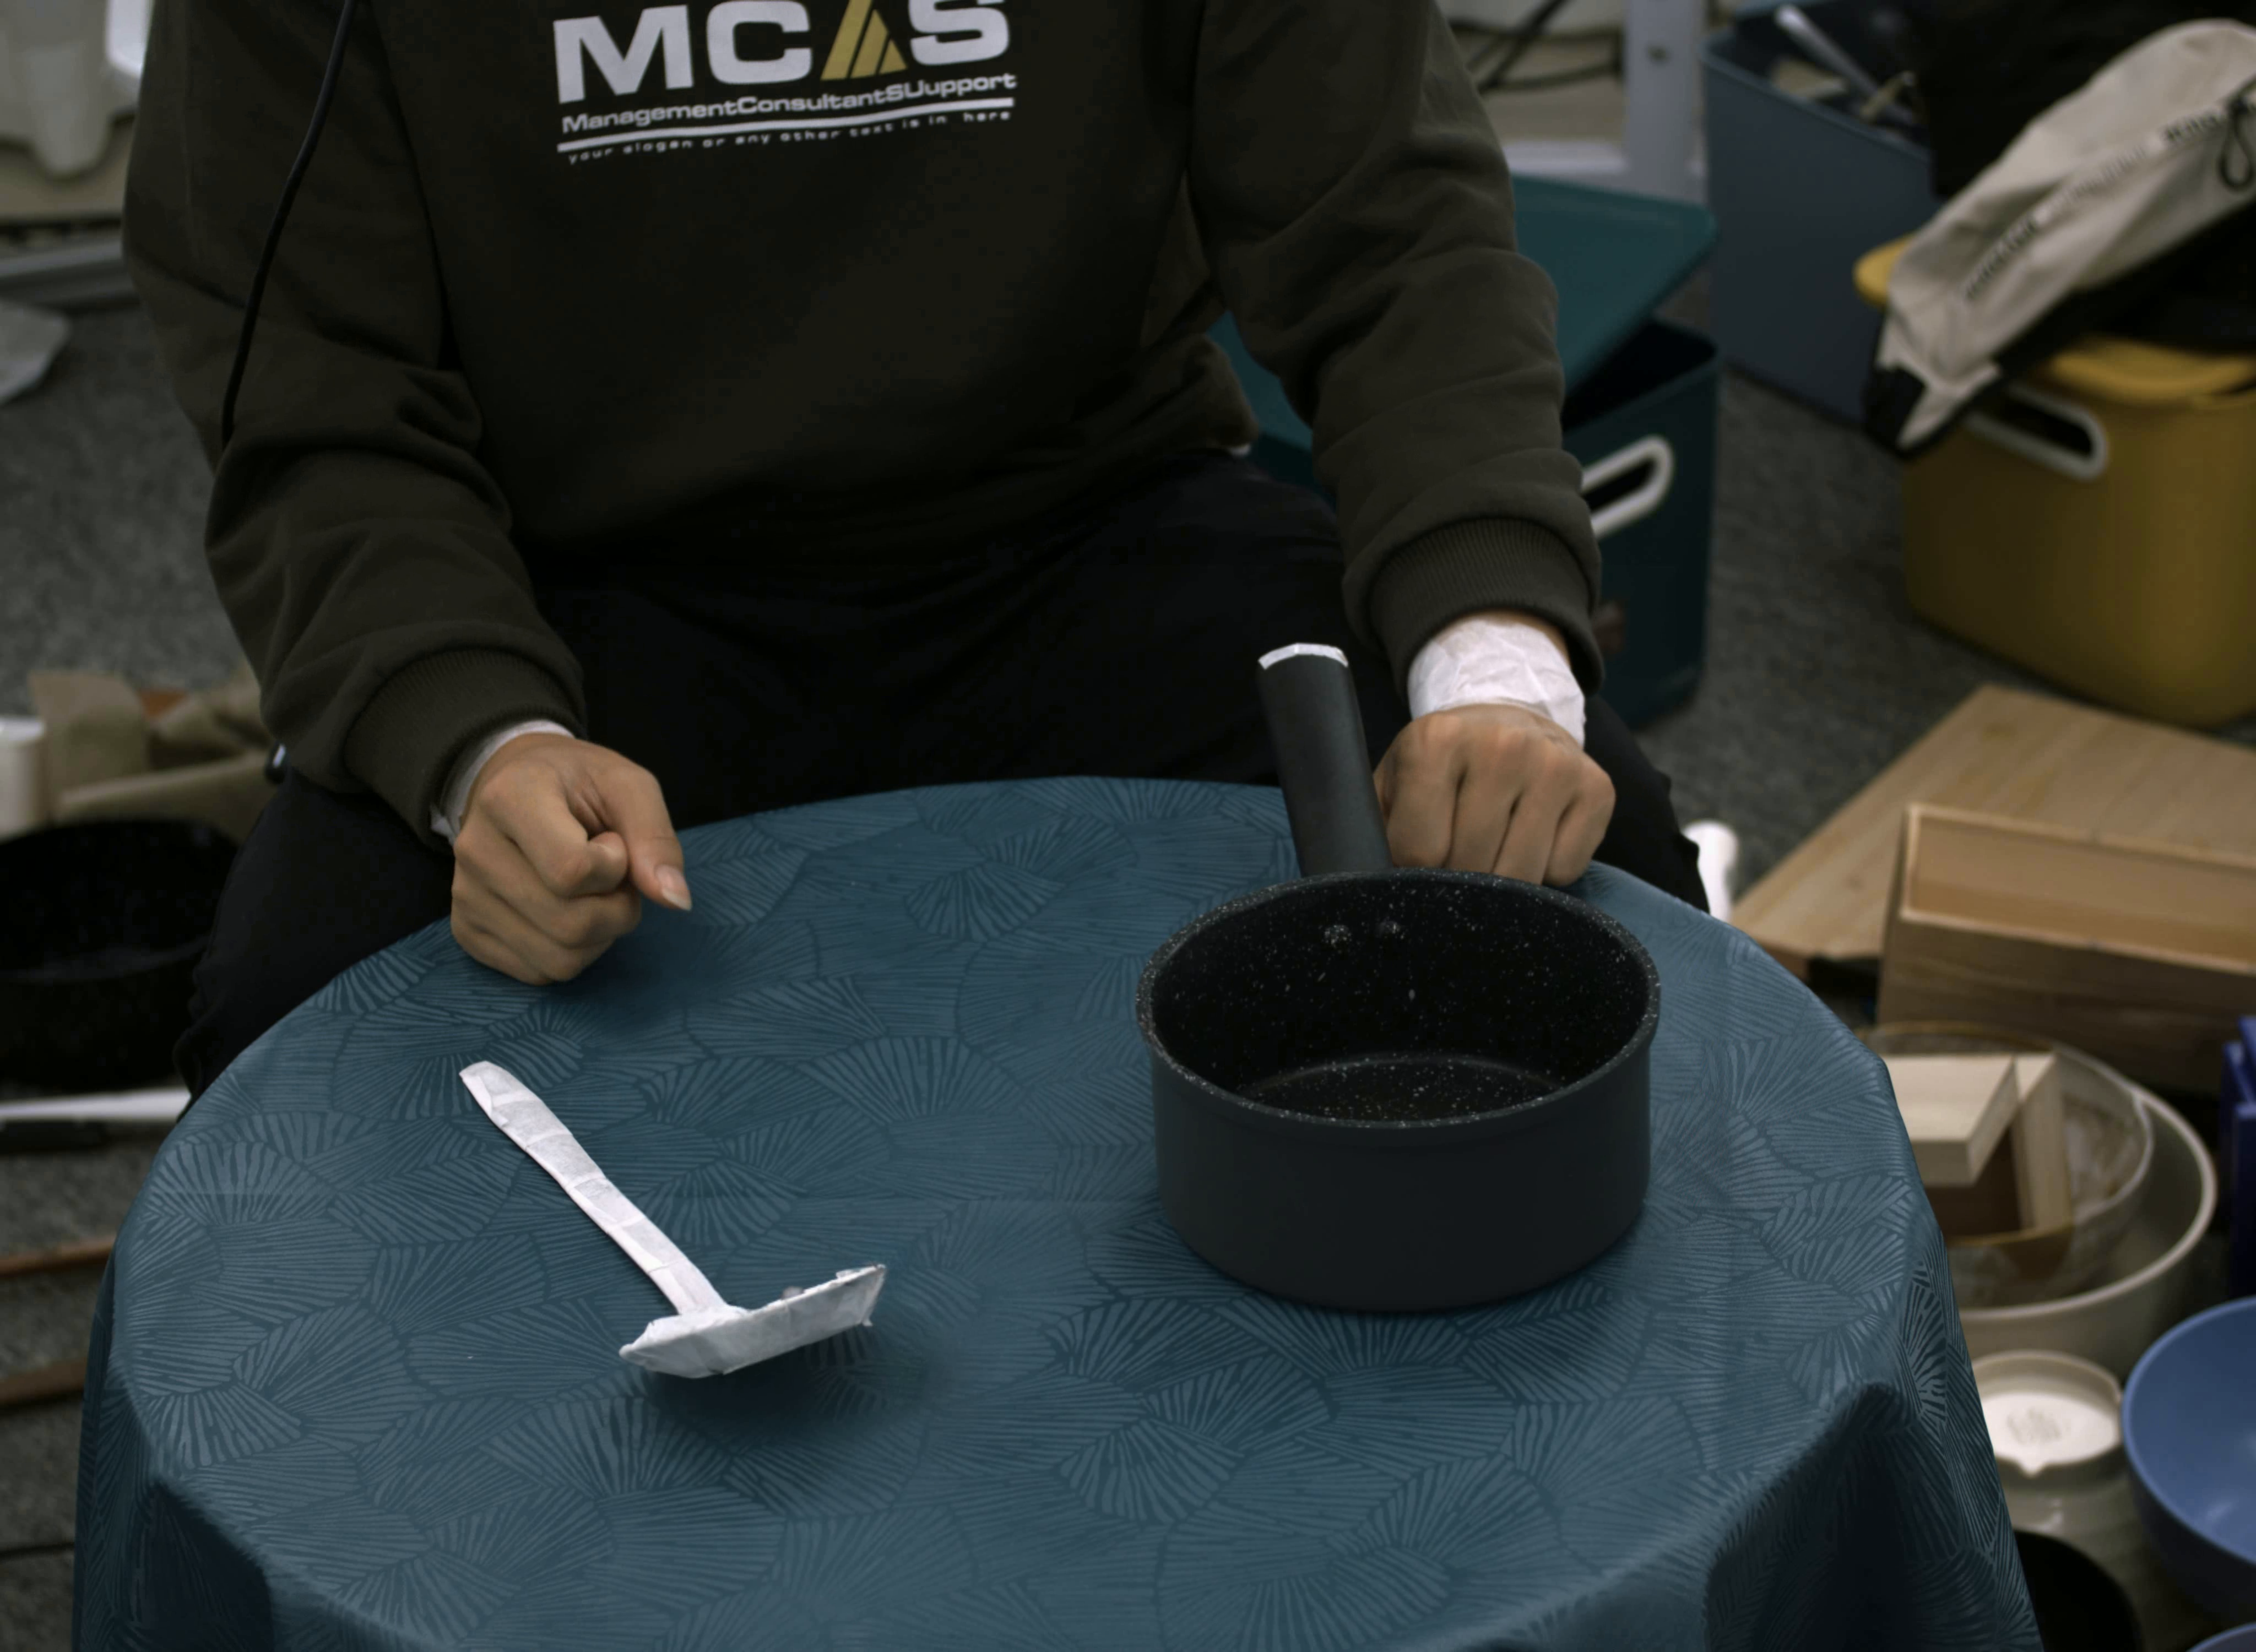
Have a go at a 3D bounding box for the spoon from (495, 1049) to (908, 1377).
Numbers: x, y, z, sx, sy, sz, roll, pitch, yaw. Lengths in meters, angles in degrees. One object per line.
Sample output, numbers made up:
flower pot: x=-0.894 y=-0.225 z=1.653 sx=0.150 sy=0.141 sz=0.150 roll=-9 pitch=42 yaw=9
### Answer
spoon: x=-0.153 y=0.112 z=1.838 sx=0.101 sy=0.059 sz=0.279 roll=-12 pitch=28 yaw=-22

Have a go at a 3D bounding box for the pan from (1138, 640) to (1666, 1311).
pan: x=0.085 y=0.047 z=1.908 sx=0.171 sy=0.085 sz=0.333 roll=-3 pitch=28 yaw=-2
